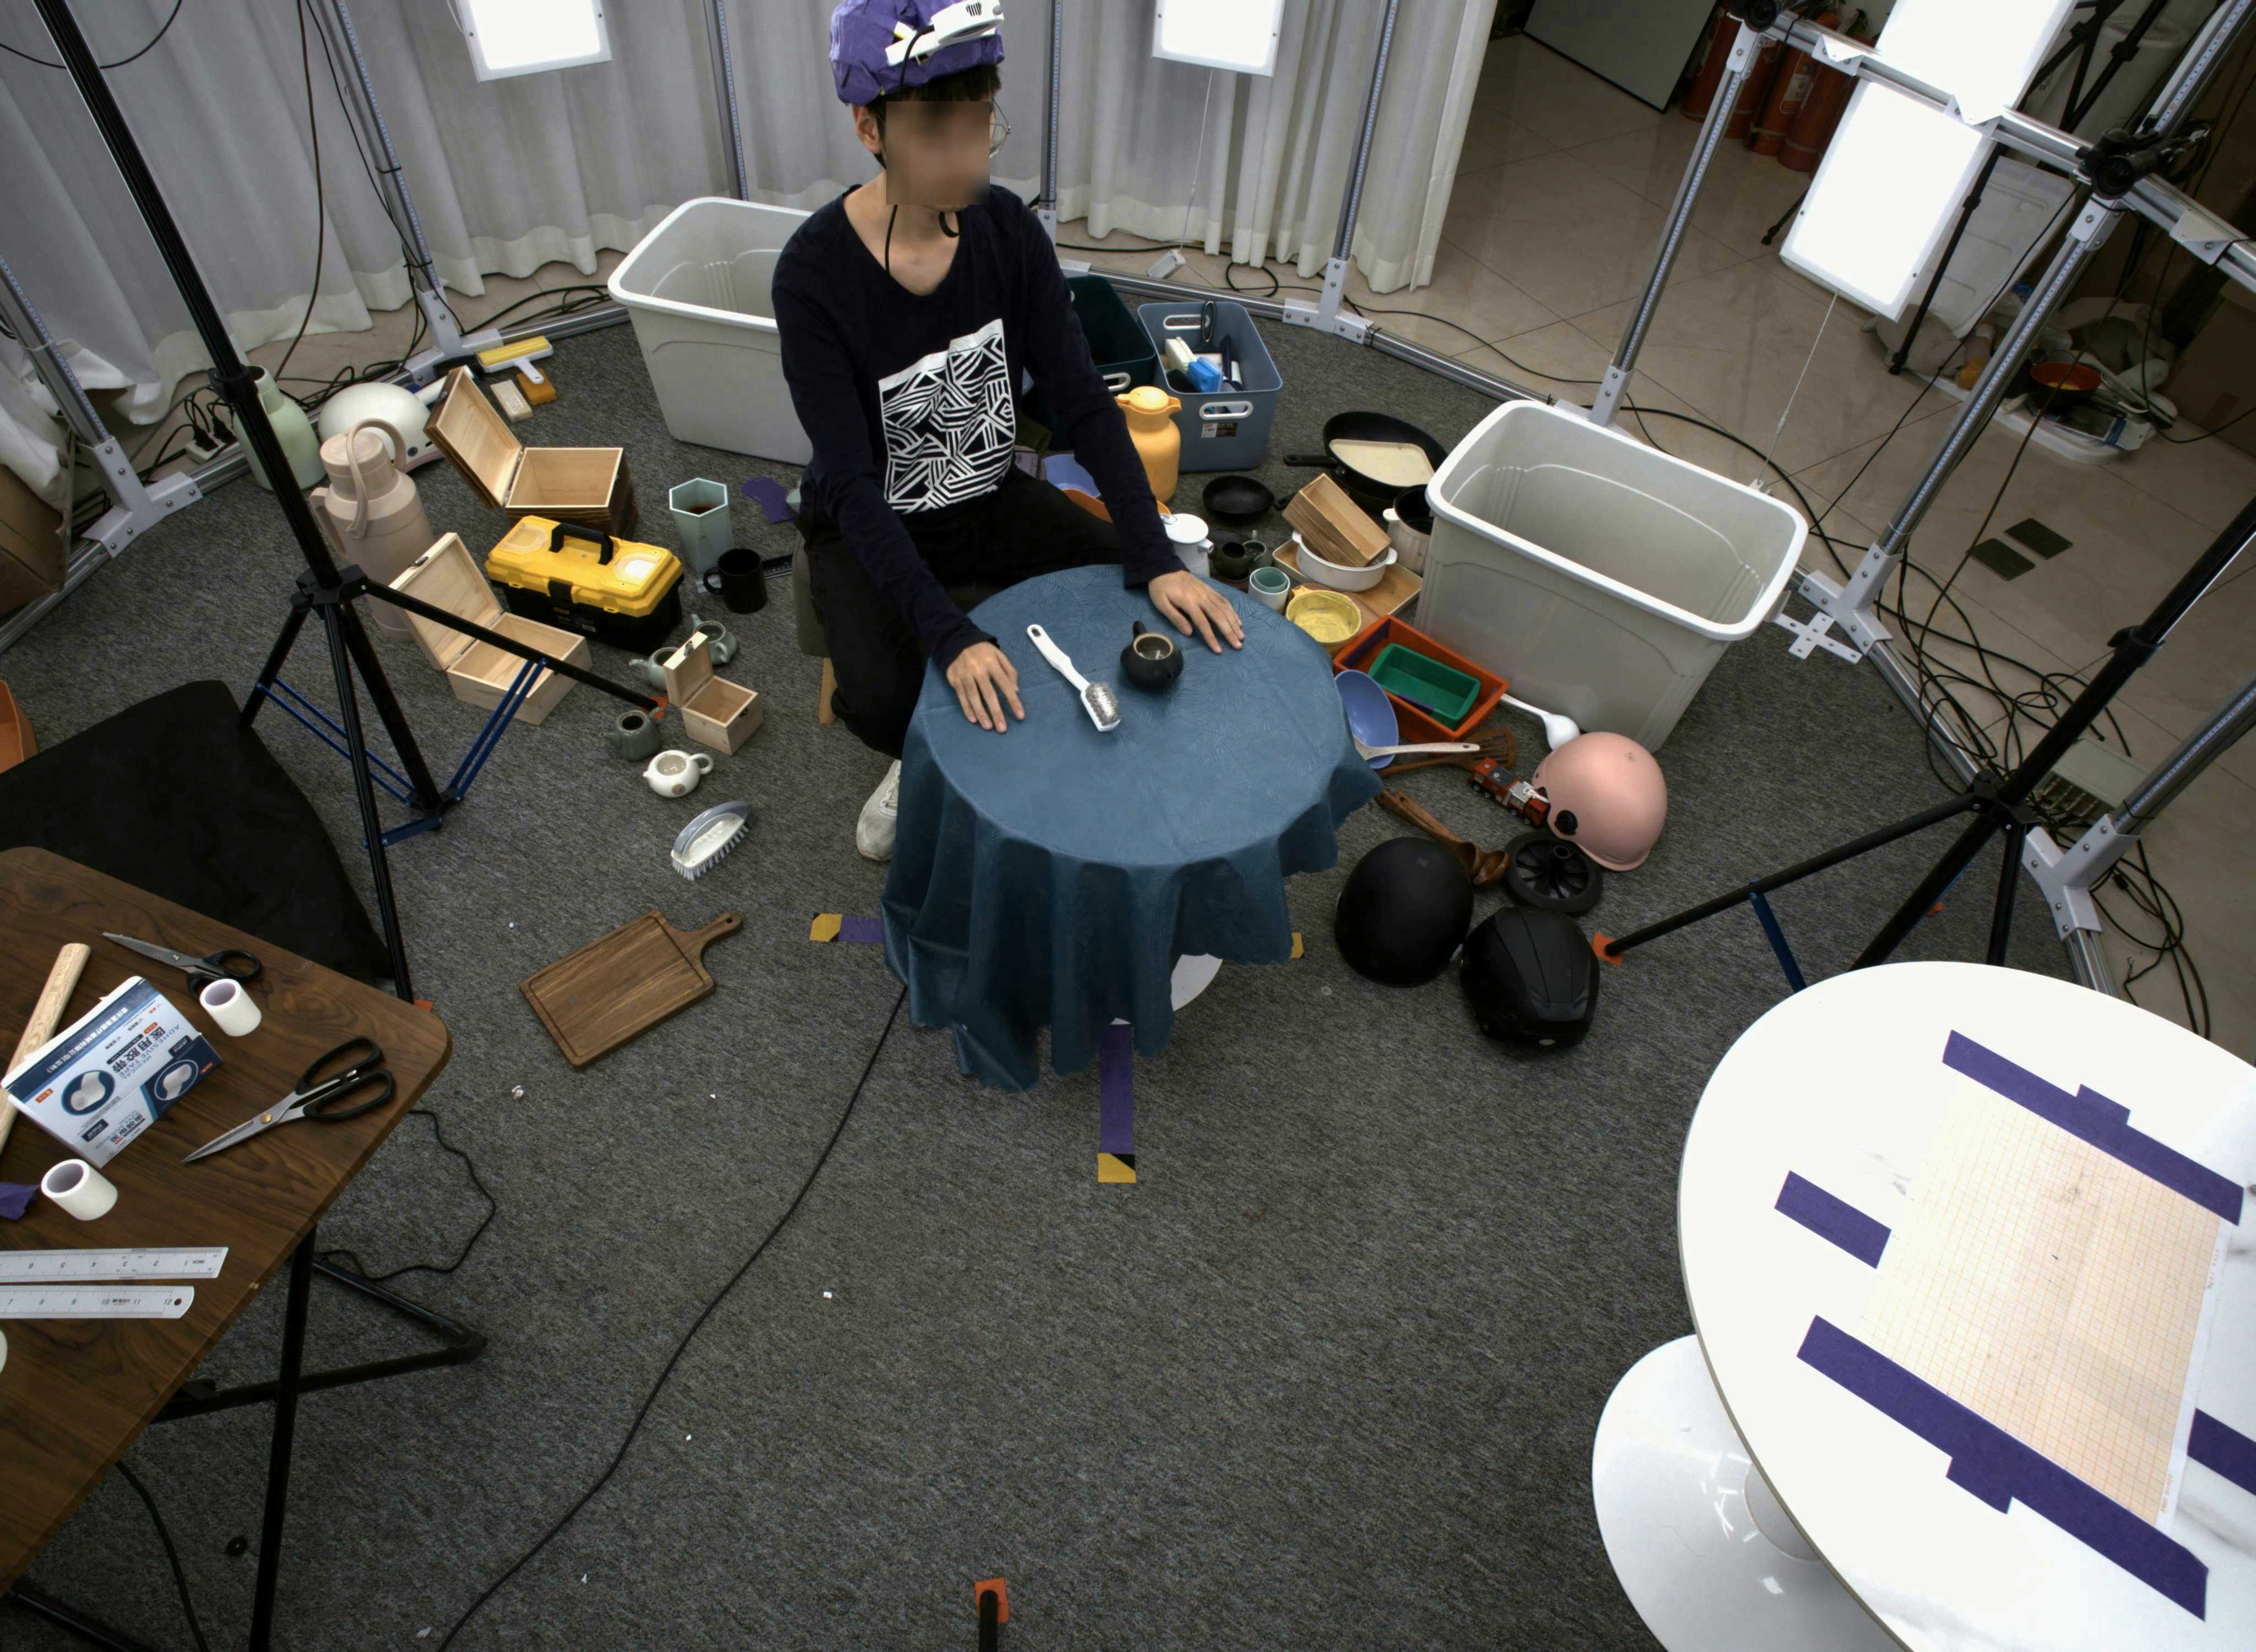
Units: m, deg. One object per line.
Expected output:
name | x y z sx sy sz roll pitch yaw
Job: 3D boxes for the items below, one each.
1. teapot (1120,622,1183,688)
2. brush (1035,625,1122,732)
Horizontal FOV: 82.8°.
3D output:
teapot | 0.034 -0.239 1.844 0.091 0.052 0.136 -12 50 -18
brush | -0.075 -0.225 1.828 0.034 0.049 0.249 -20 53 -17
